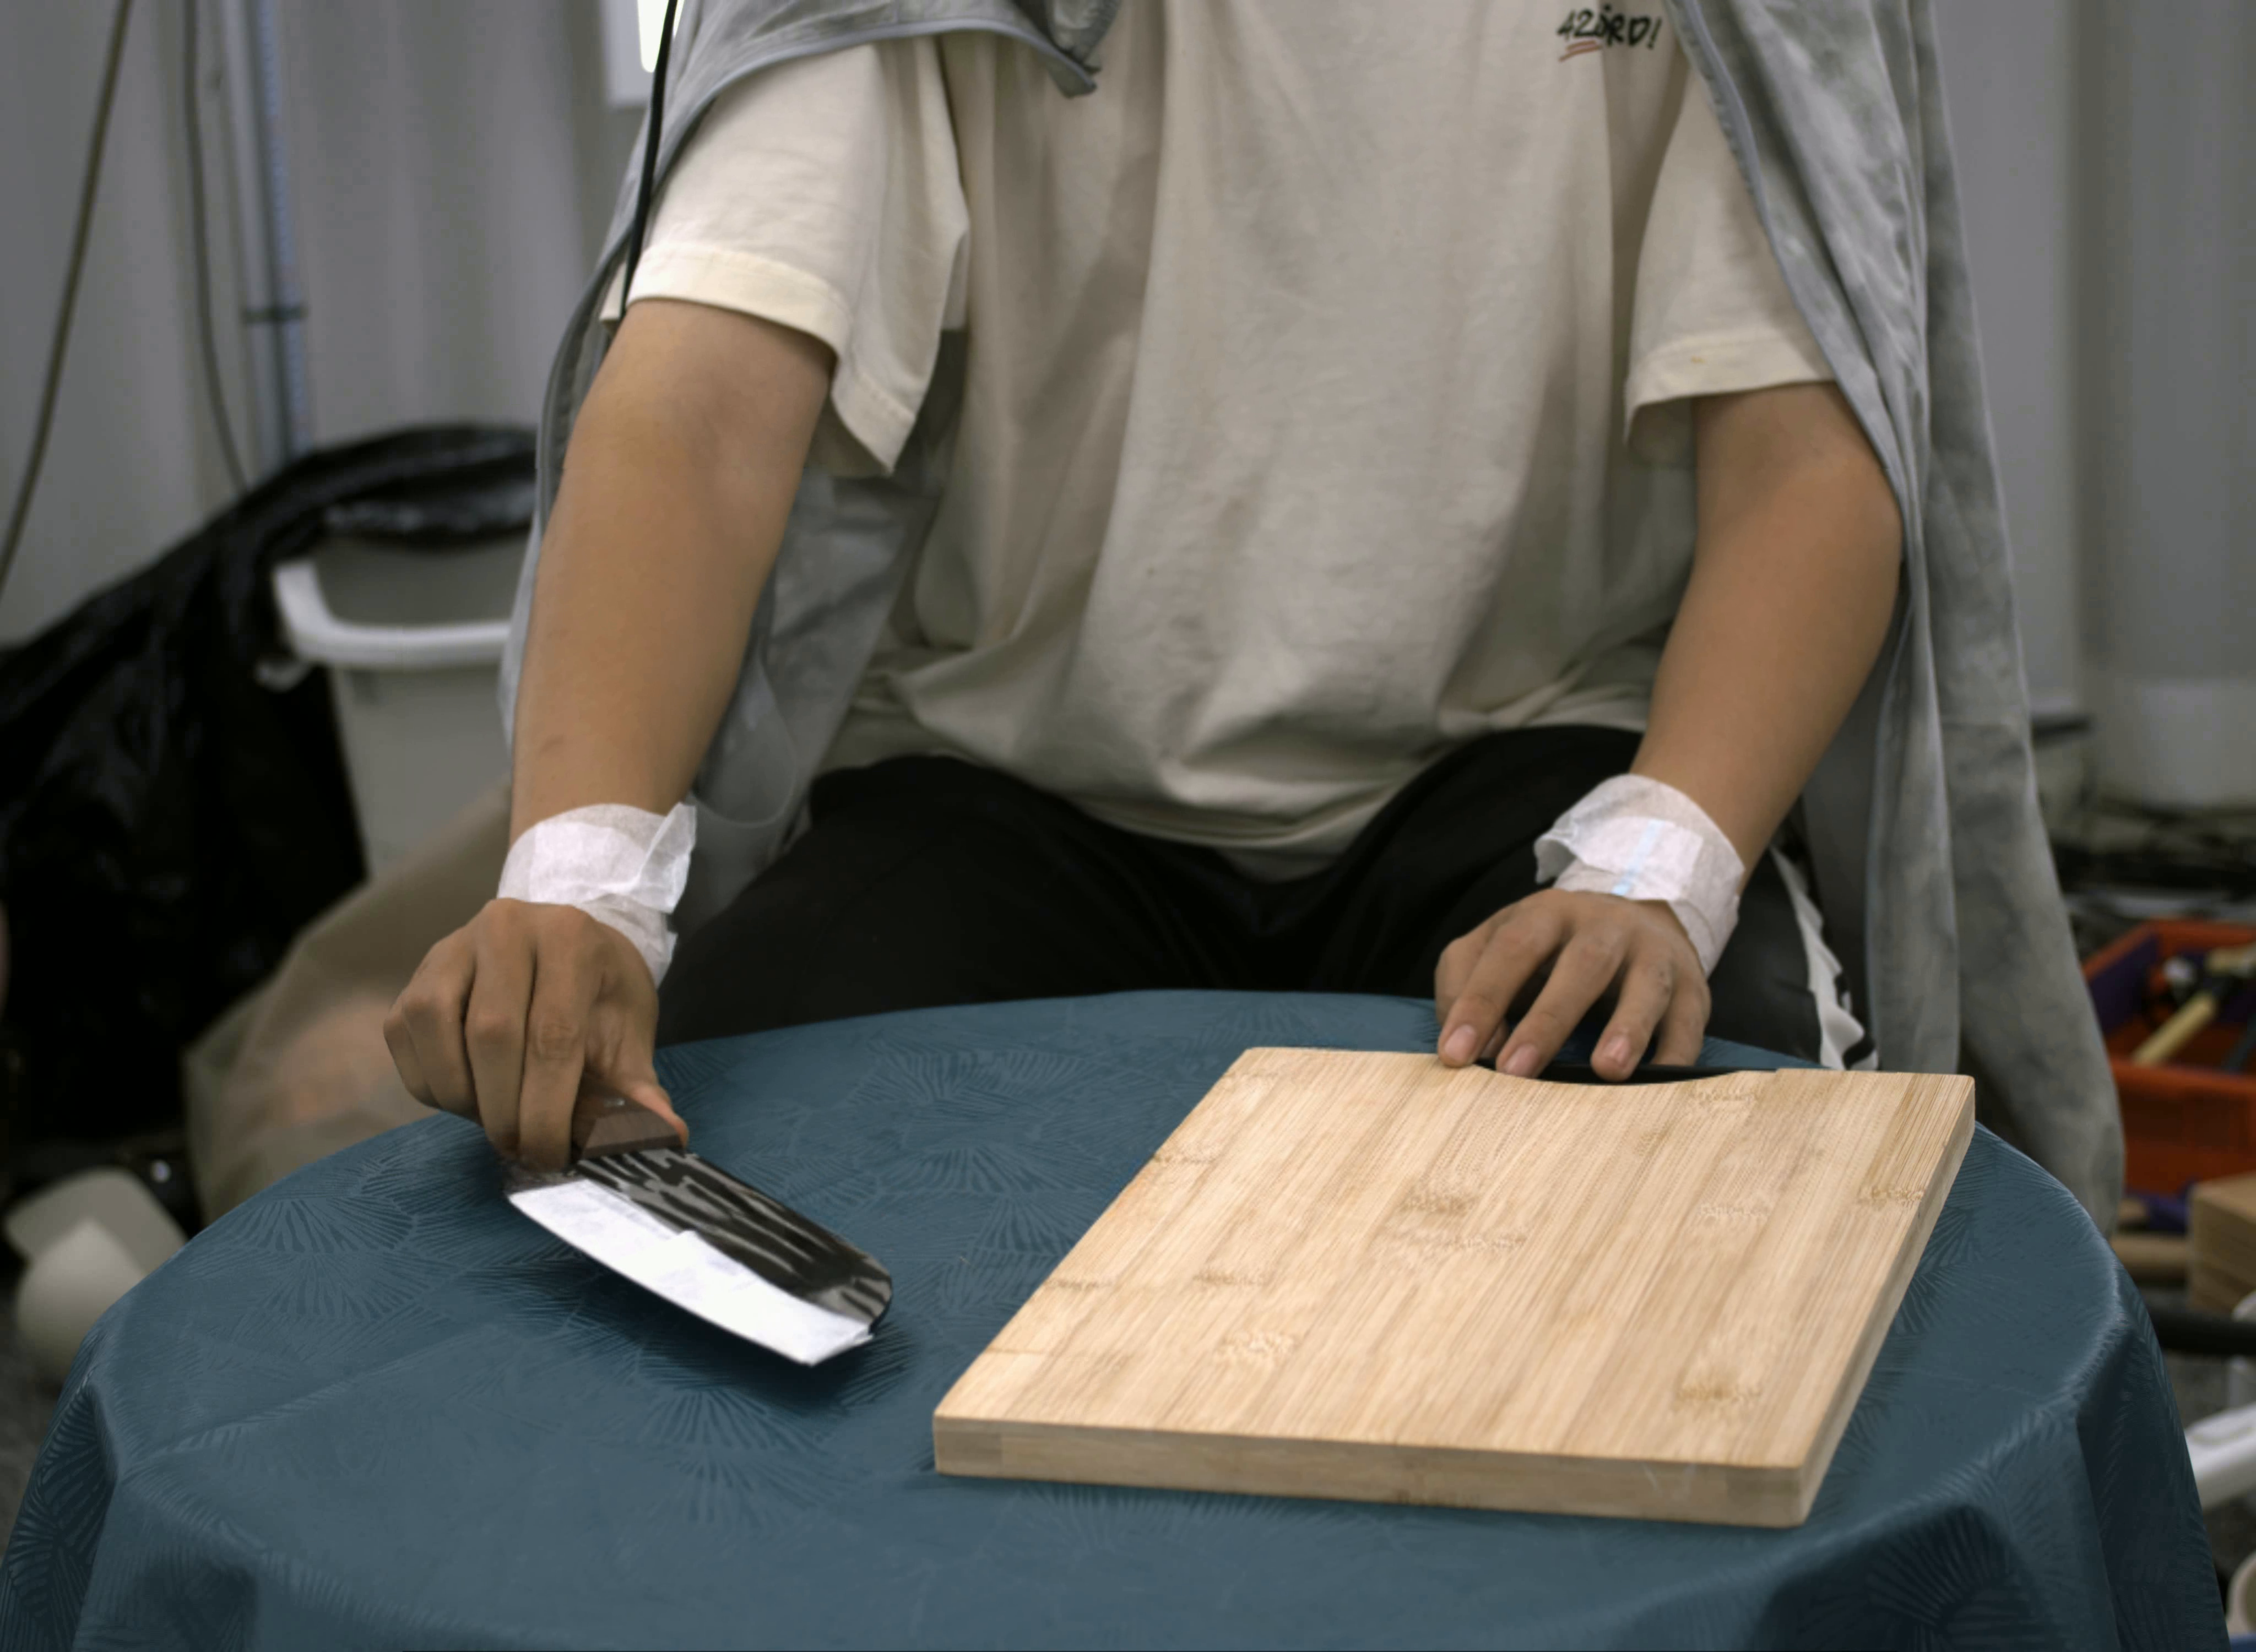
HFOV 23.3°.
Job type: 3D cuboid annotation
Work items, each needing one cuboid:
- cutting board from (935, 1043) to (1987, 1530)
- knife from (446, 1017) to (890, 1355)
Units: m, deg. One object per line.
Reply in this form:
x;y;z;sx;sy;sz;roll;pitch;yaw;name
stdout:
0.109;0.128;1.618;0.250;0.023;0.350;2;15;15;cutting board
-0.152;0.111;1.673;0.068;0.024;0.302;-9;19;-31;knife
